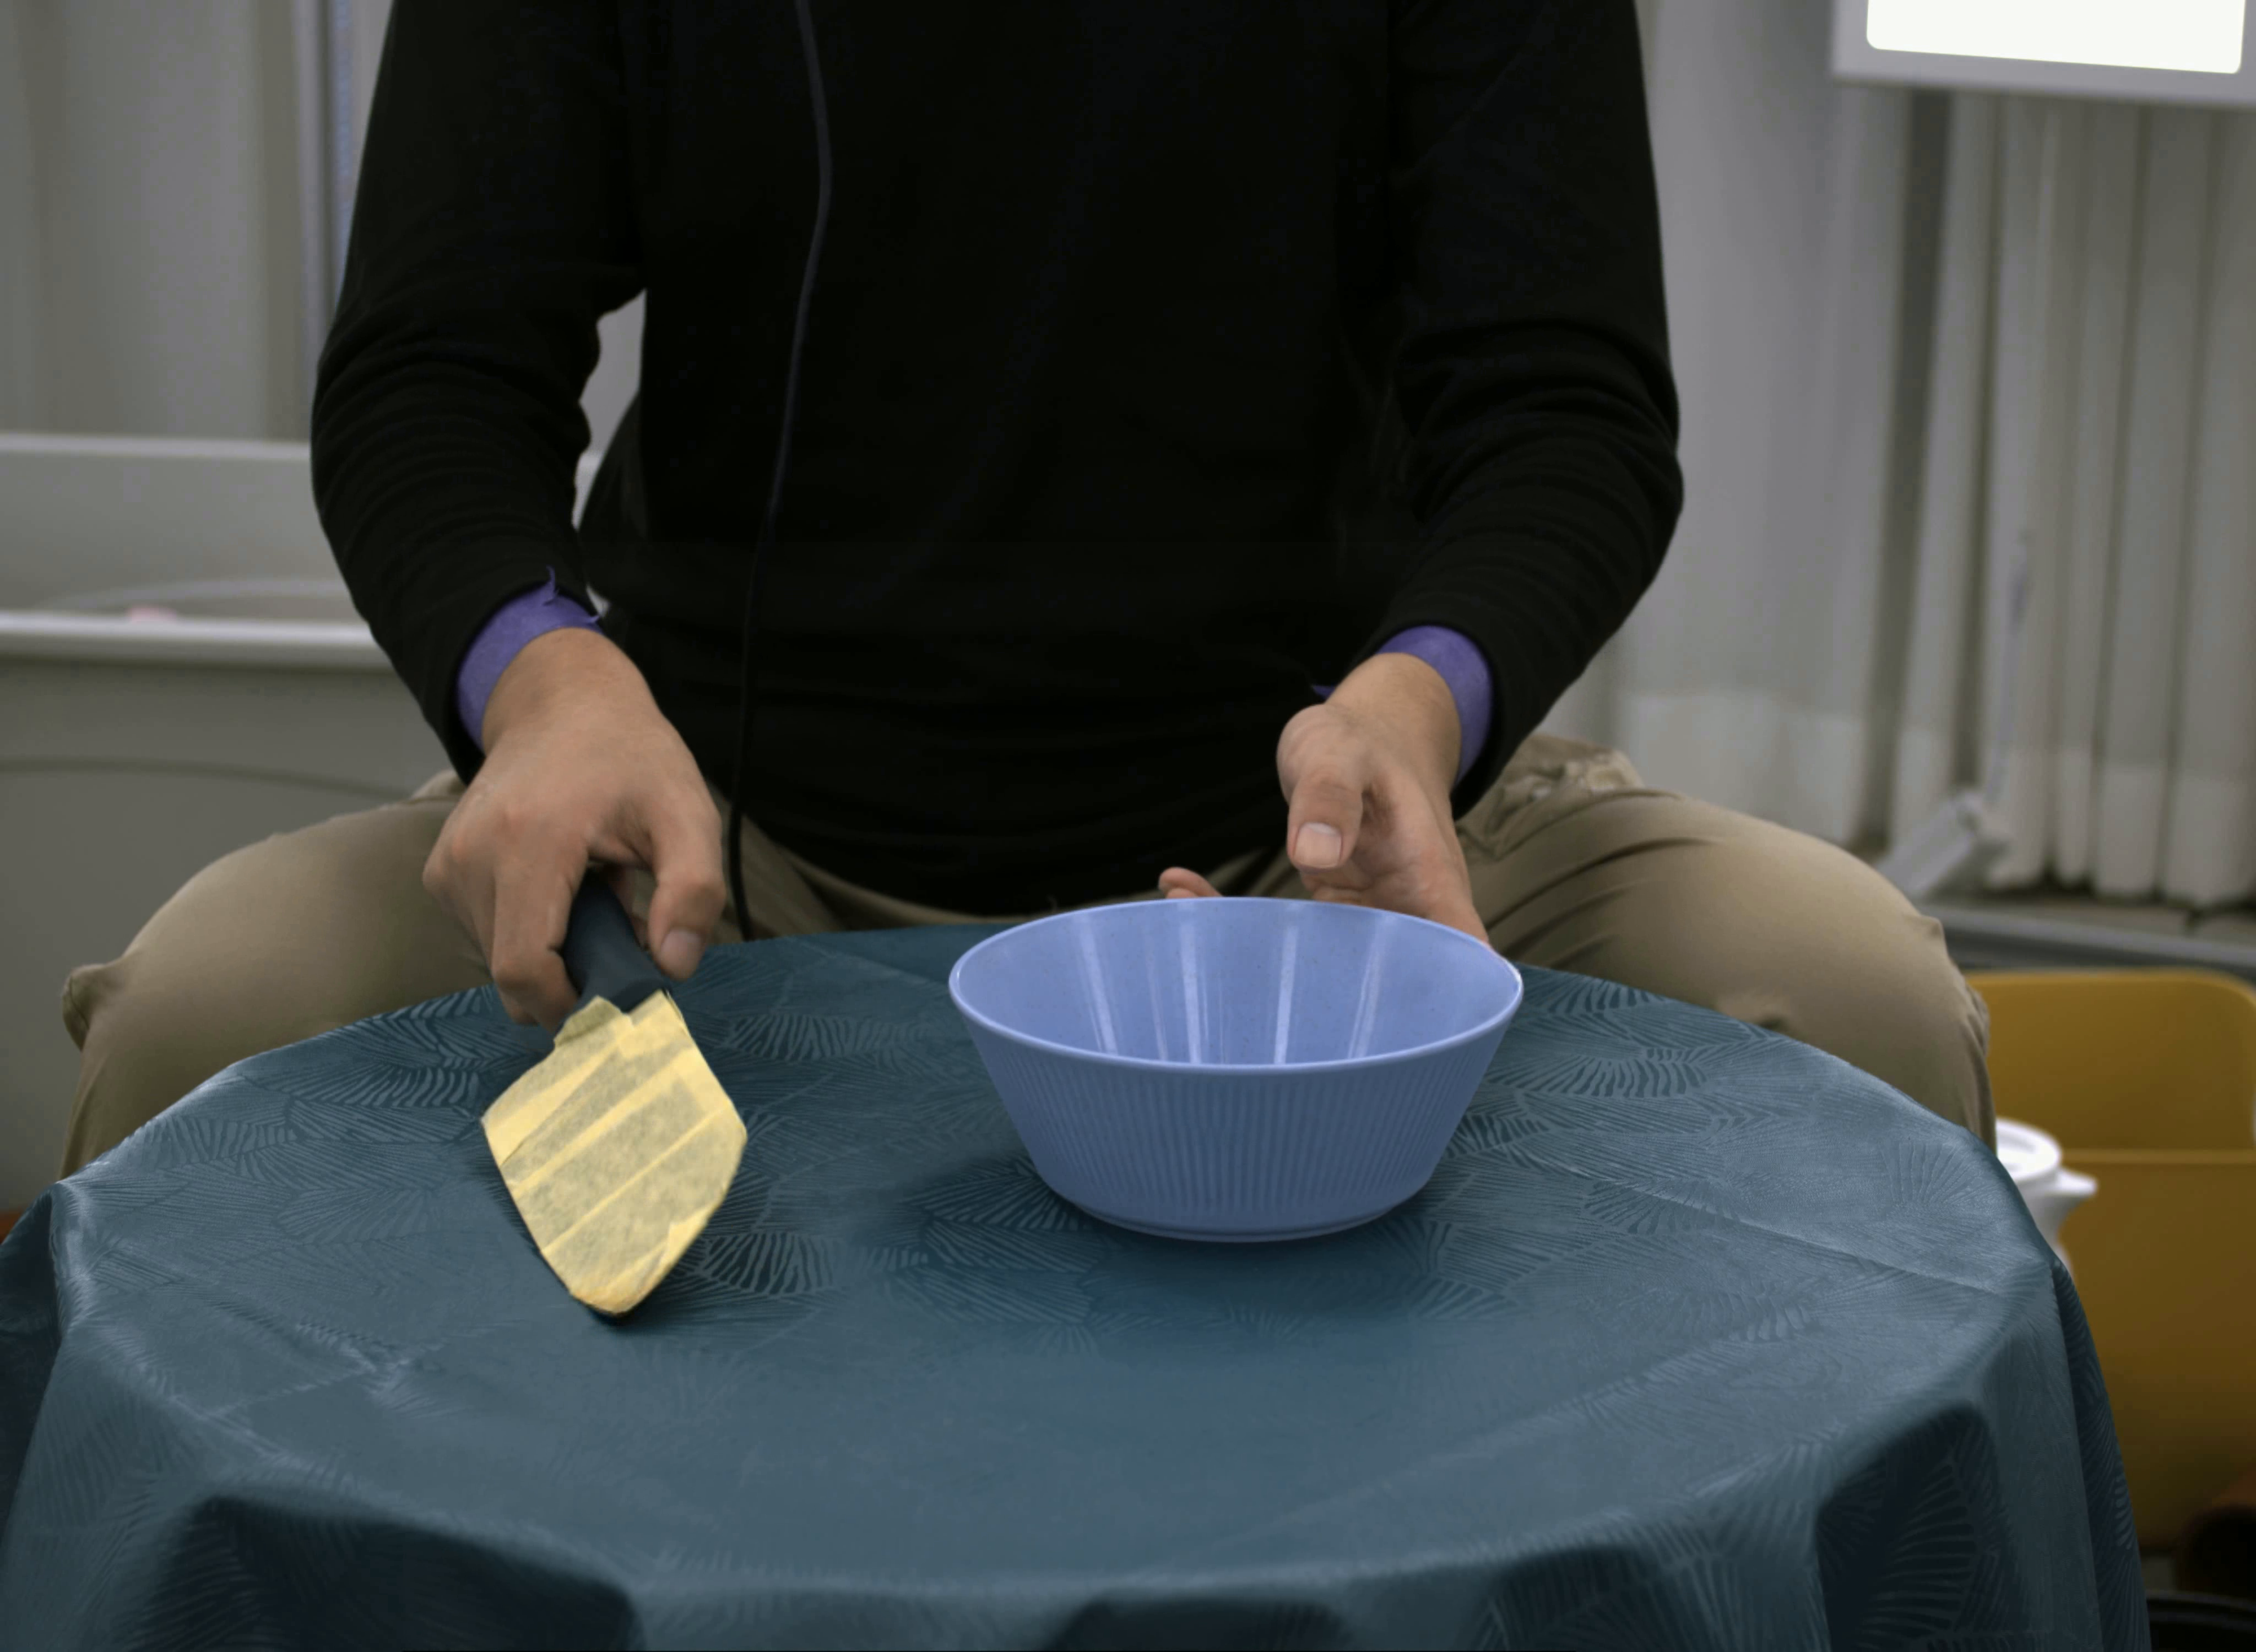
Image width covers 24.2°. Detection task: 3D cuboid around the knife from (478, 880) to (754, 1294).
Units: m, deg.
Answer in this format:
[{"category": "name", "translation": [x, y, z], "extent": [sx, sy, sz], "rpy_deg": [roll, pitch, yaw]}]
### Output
[{"category": "knife", "translation": [-0.166, 0.078, 1.632], "extent": [0.081, 0.027, 0.286], "rpy_deg": [-33, 24, 0]}]

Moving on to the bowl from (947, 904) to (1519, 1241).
[{"category": "bowl", "translation": [0.032, 0.078, 1.619], "extent": [0.175, 0.071, 0.175], "rpy_deg": [0, 16, 1]}]
